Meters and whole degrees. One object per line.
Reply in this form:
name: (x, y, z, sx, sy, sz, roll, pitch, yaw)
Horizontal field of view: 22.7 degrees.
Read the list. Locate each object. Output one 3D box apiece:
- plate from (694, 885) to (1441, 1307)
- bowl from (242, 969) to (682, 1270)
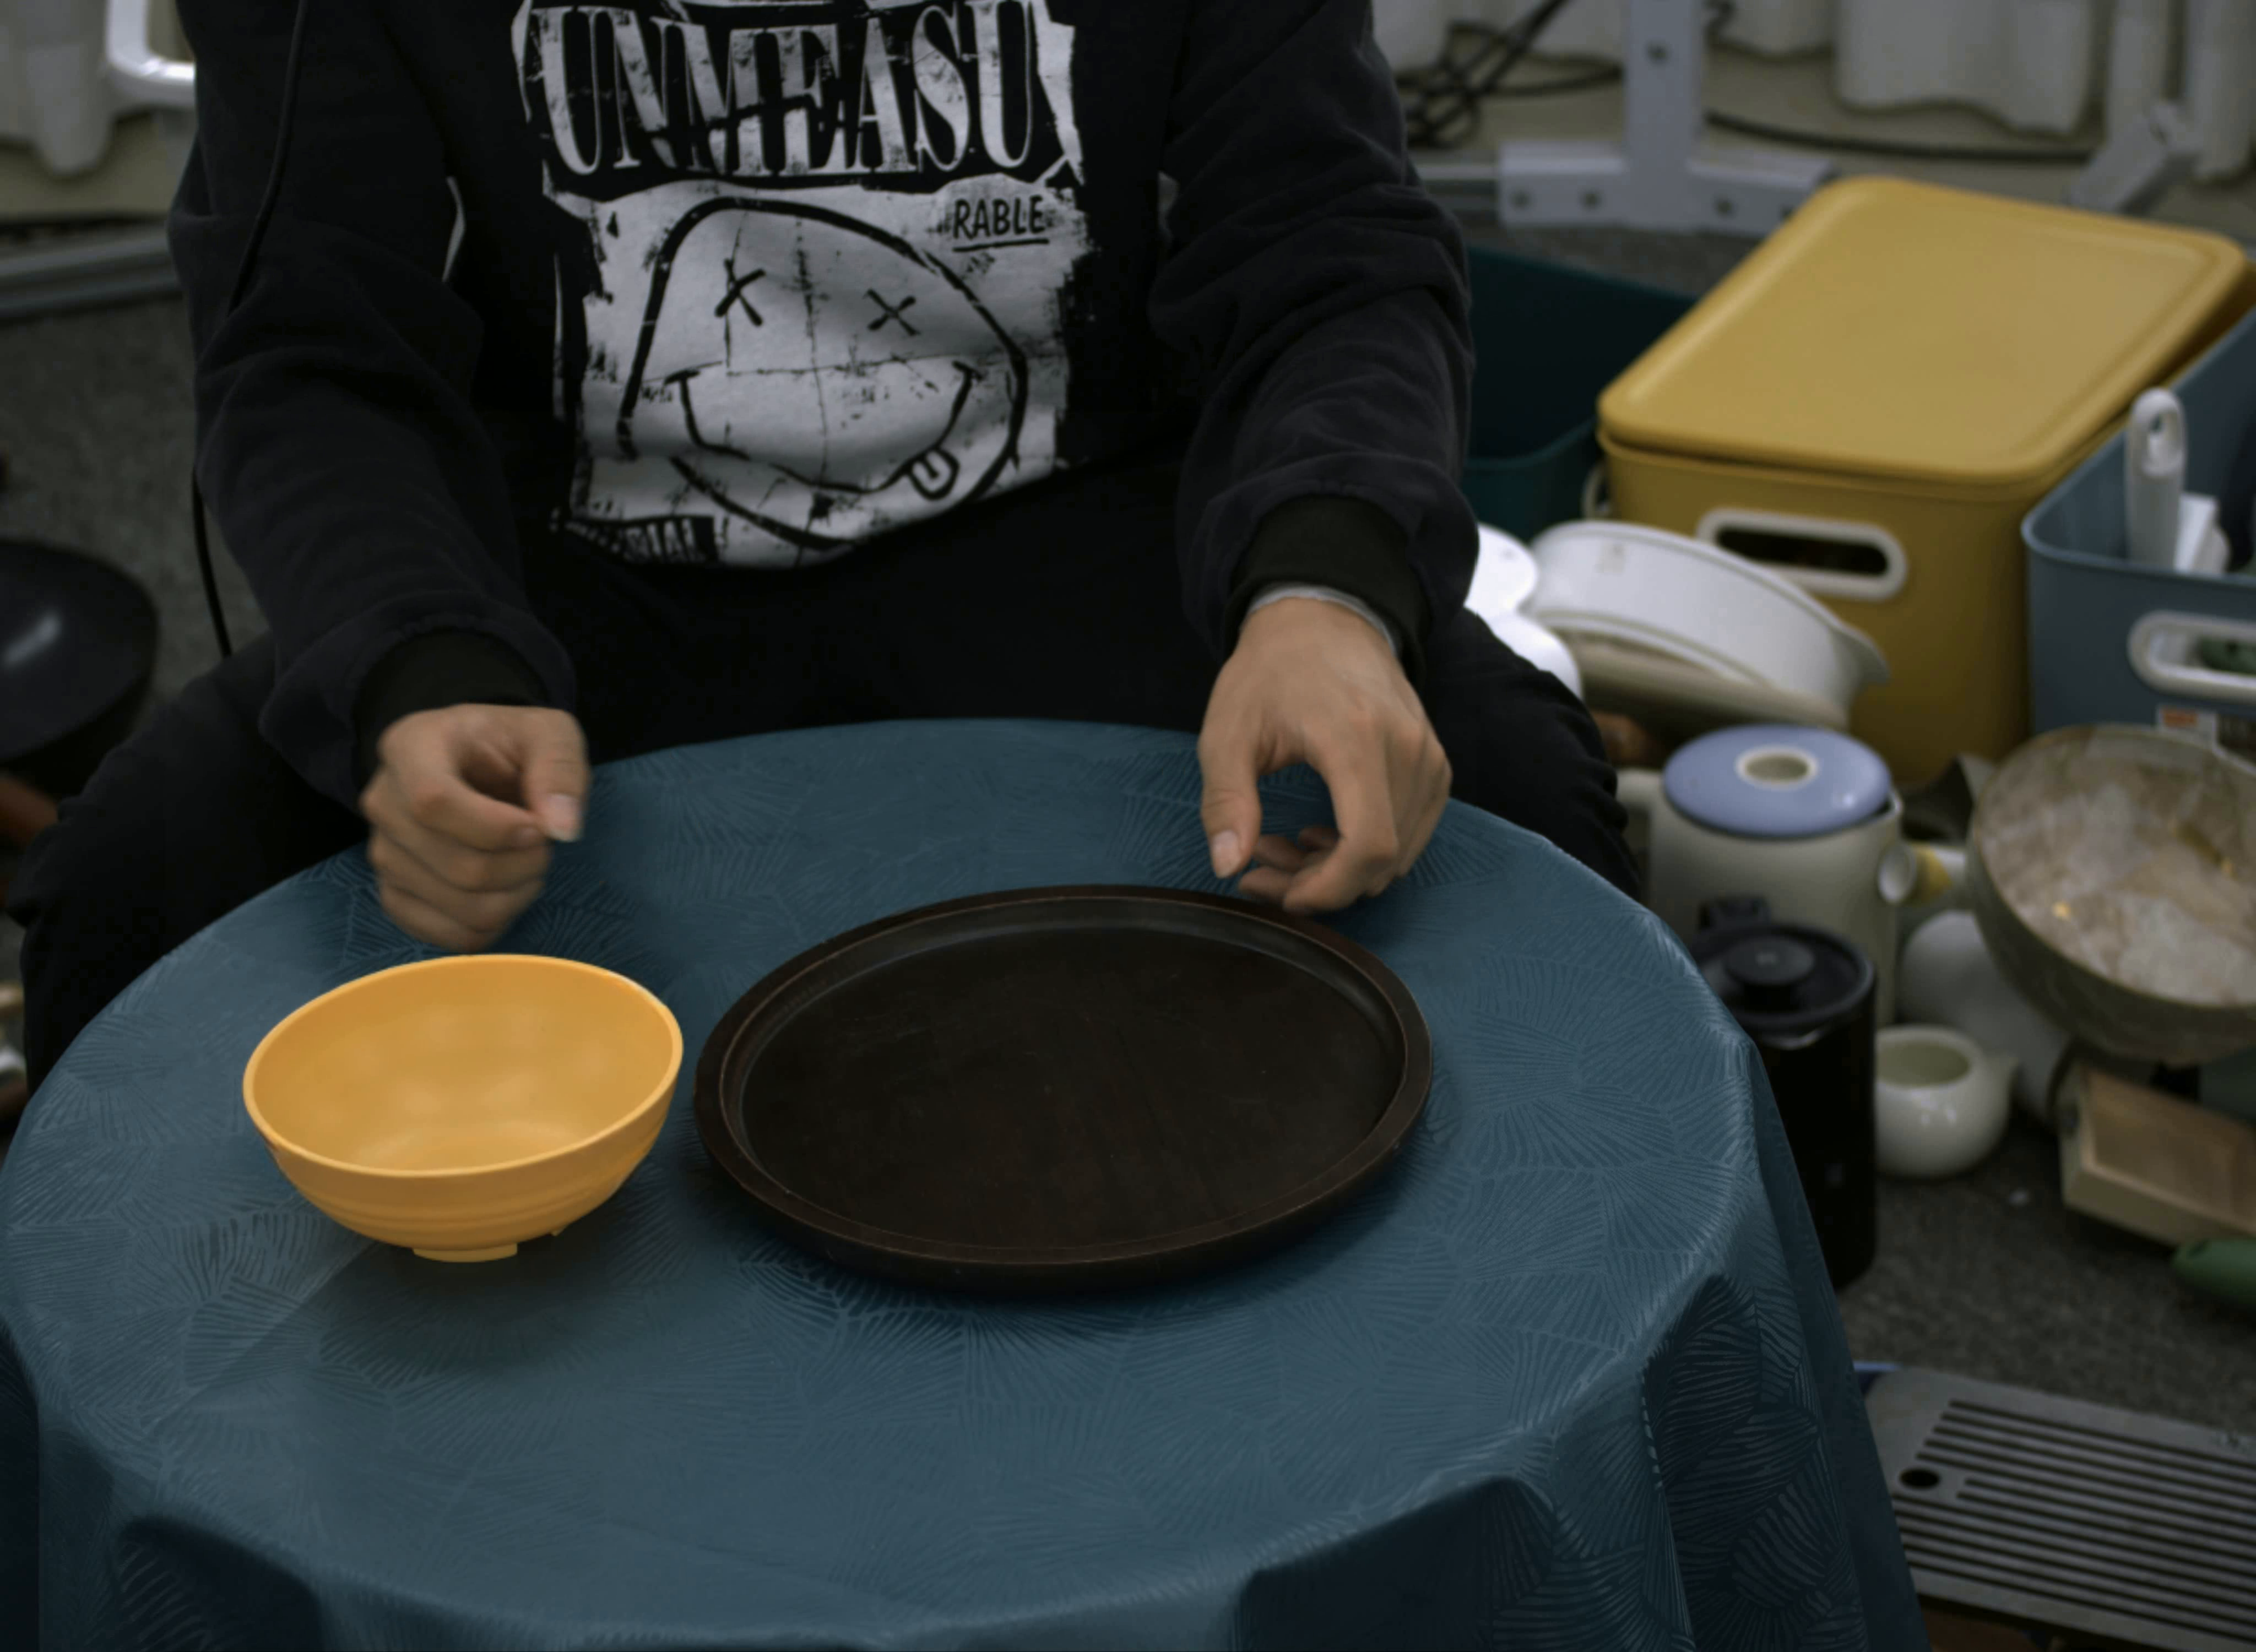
plate: (-0.020, 0.090, 1.902, 0.253, 0.029, 0.258, -4, 27, 2)
bowl: (-0.218, 0.105, 1.855, 0.144, 0.059, 0.147, -1, 25, 1)
